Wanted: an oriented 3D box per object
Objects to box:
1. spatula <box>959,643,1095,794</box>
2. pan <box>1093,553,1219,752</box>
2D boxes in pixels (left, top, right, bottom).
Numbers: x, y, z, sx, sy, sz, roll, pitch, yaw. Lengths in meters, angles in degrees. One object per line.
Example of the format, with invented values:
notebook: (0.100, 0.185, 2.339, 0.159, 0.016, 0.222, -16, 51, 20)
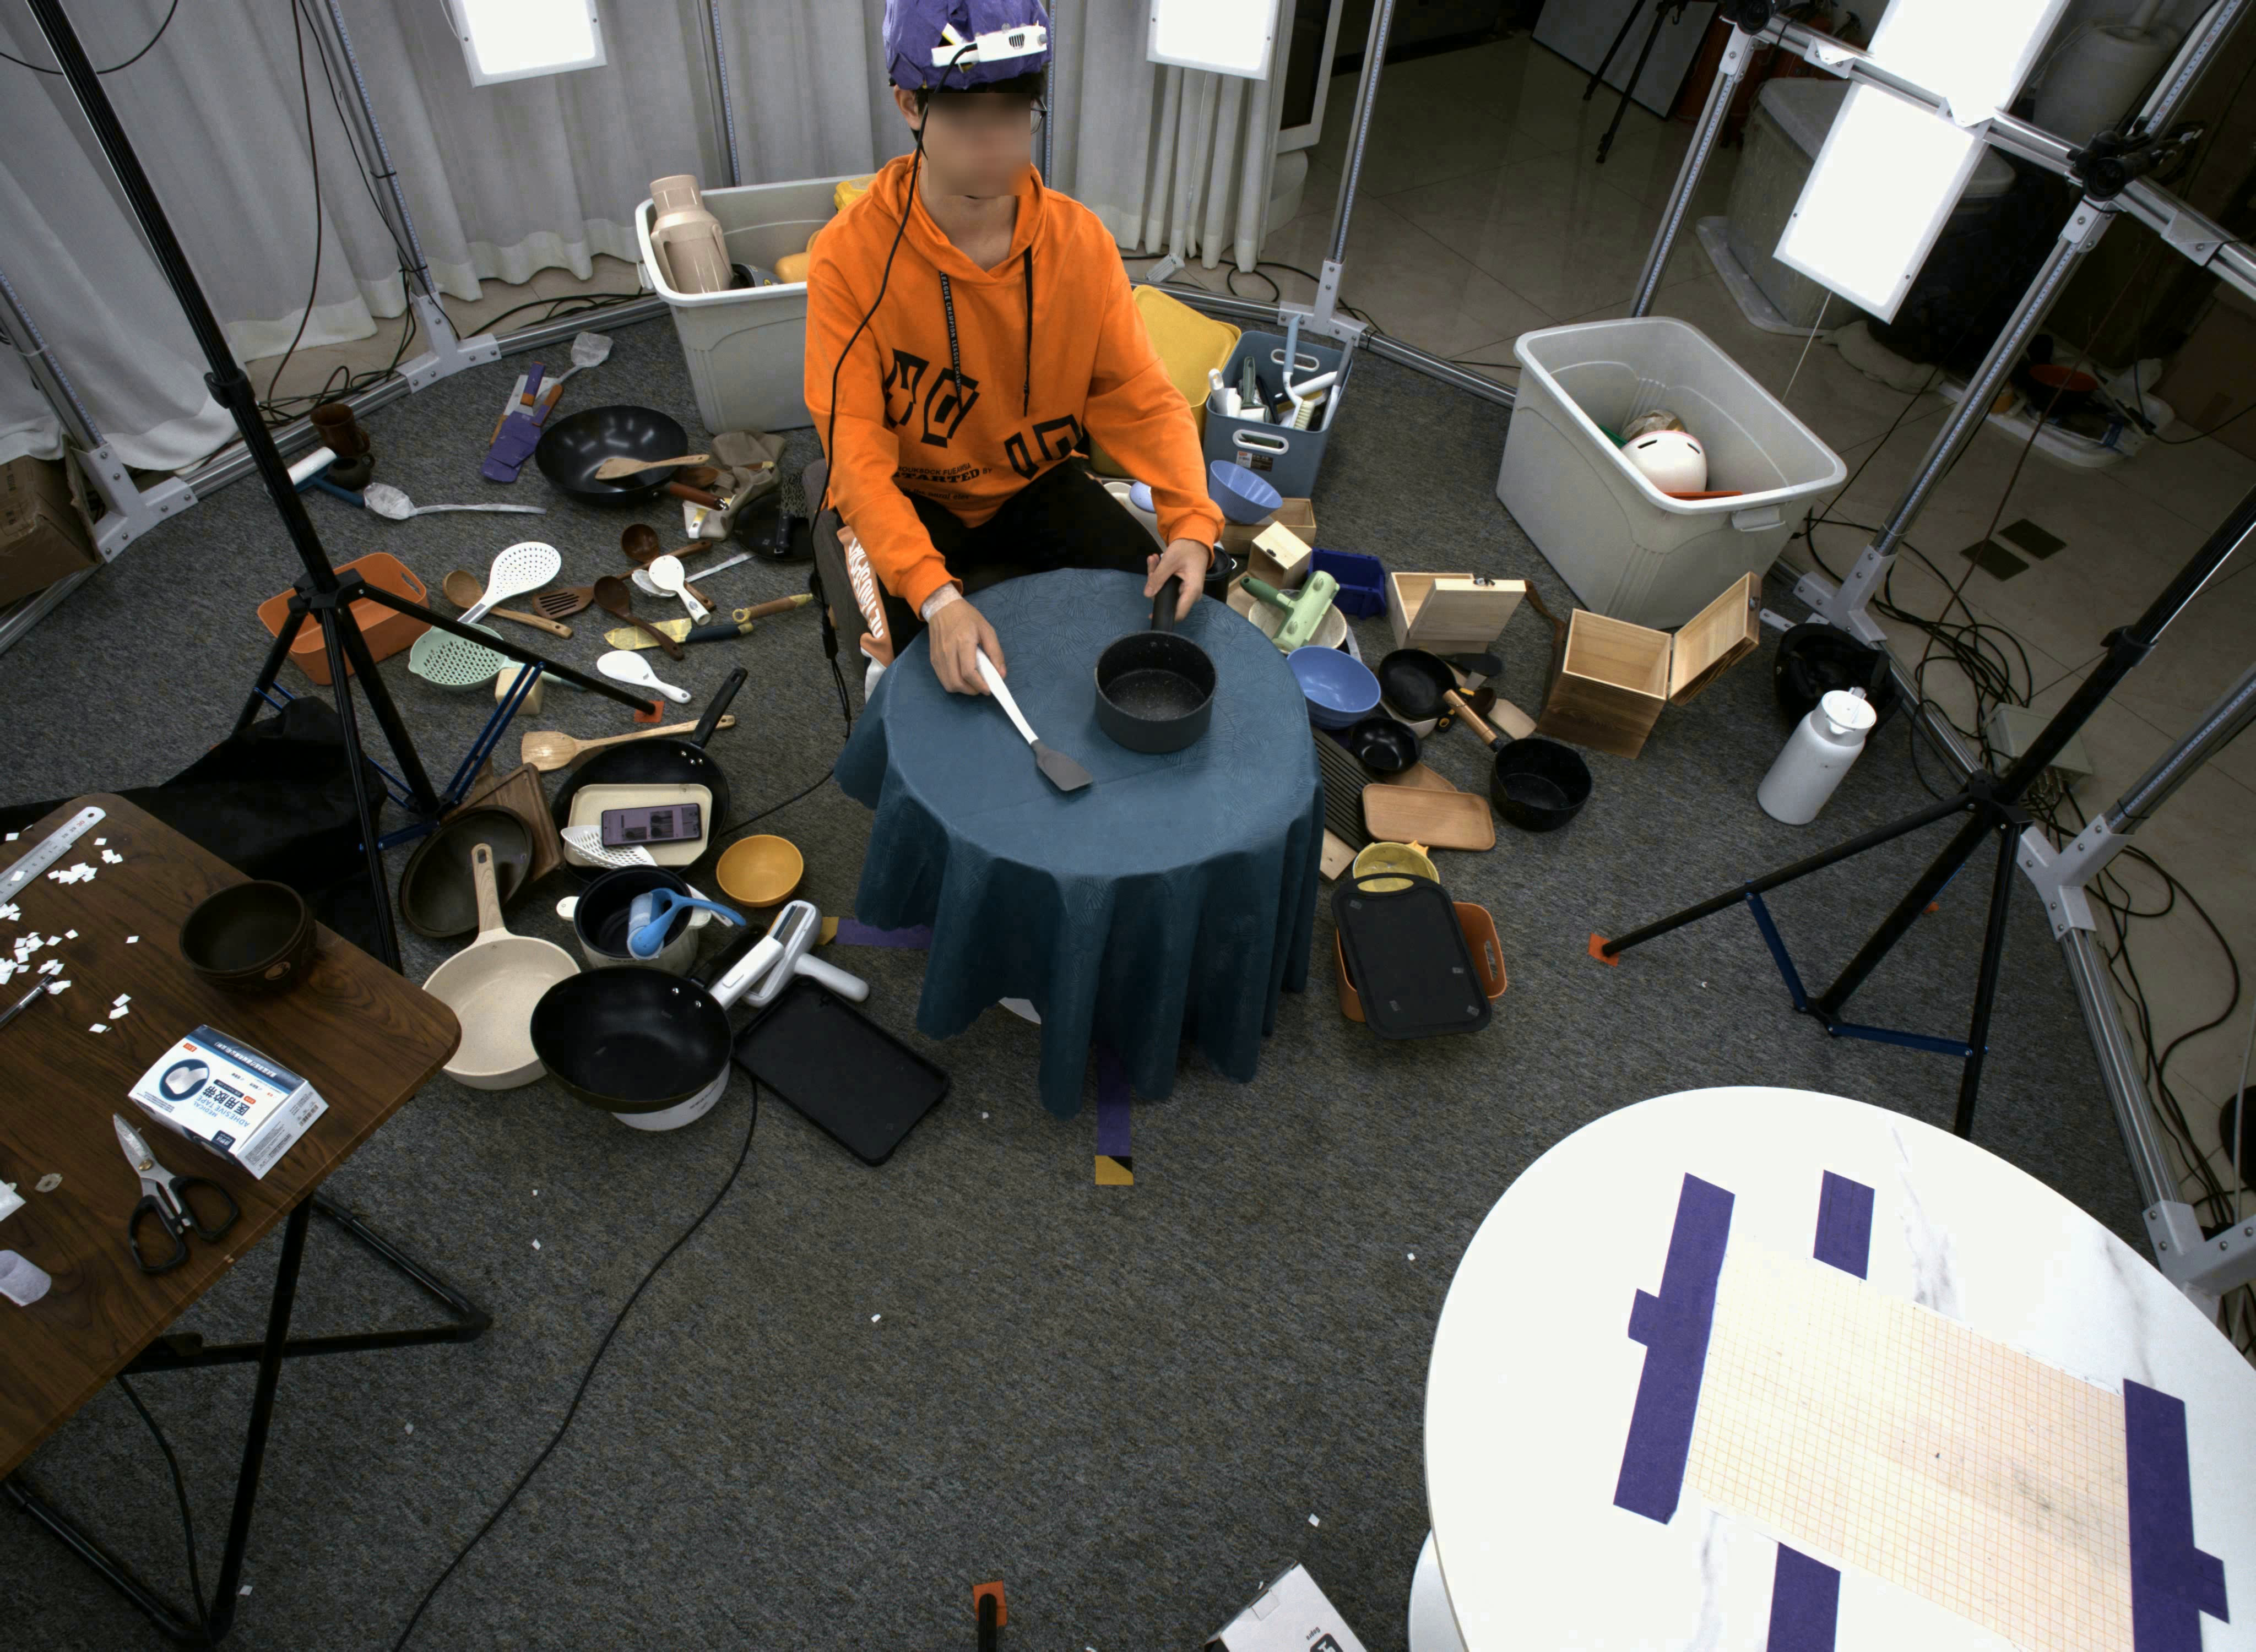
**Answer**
spatula: (-0.145, -0.146, 1.759, 0.059, 0.031, 0.293, -19, 58, -34)
pan: (0.048, -0.250, 1.828, 0.172, 0.084, 0.336, 8, 53, 3)
